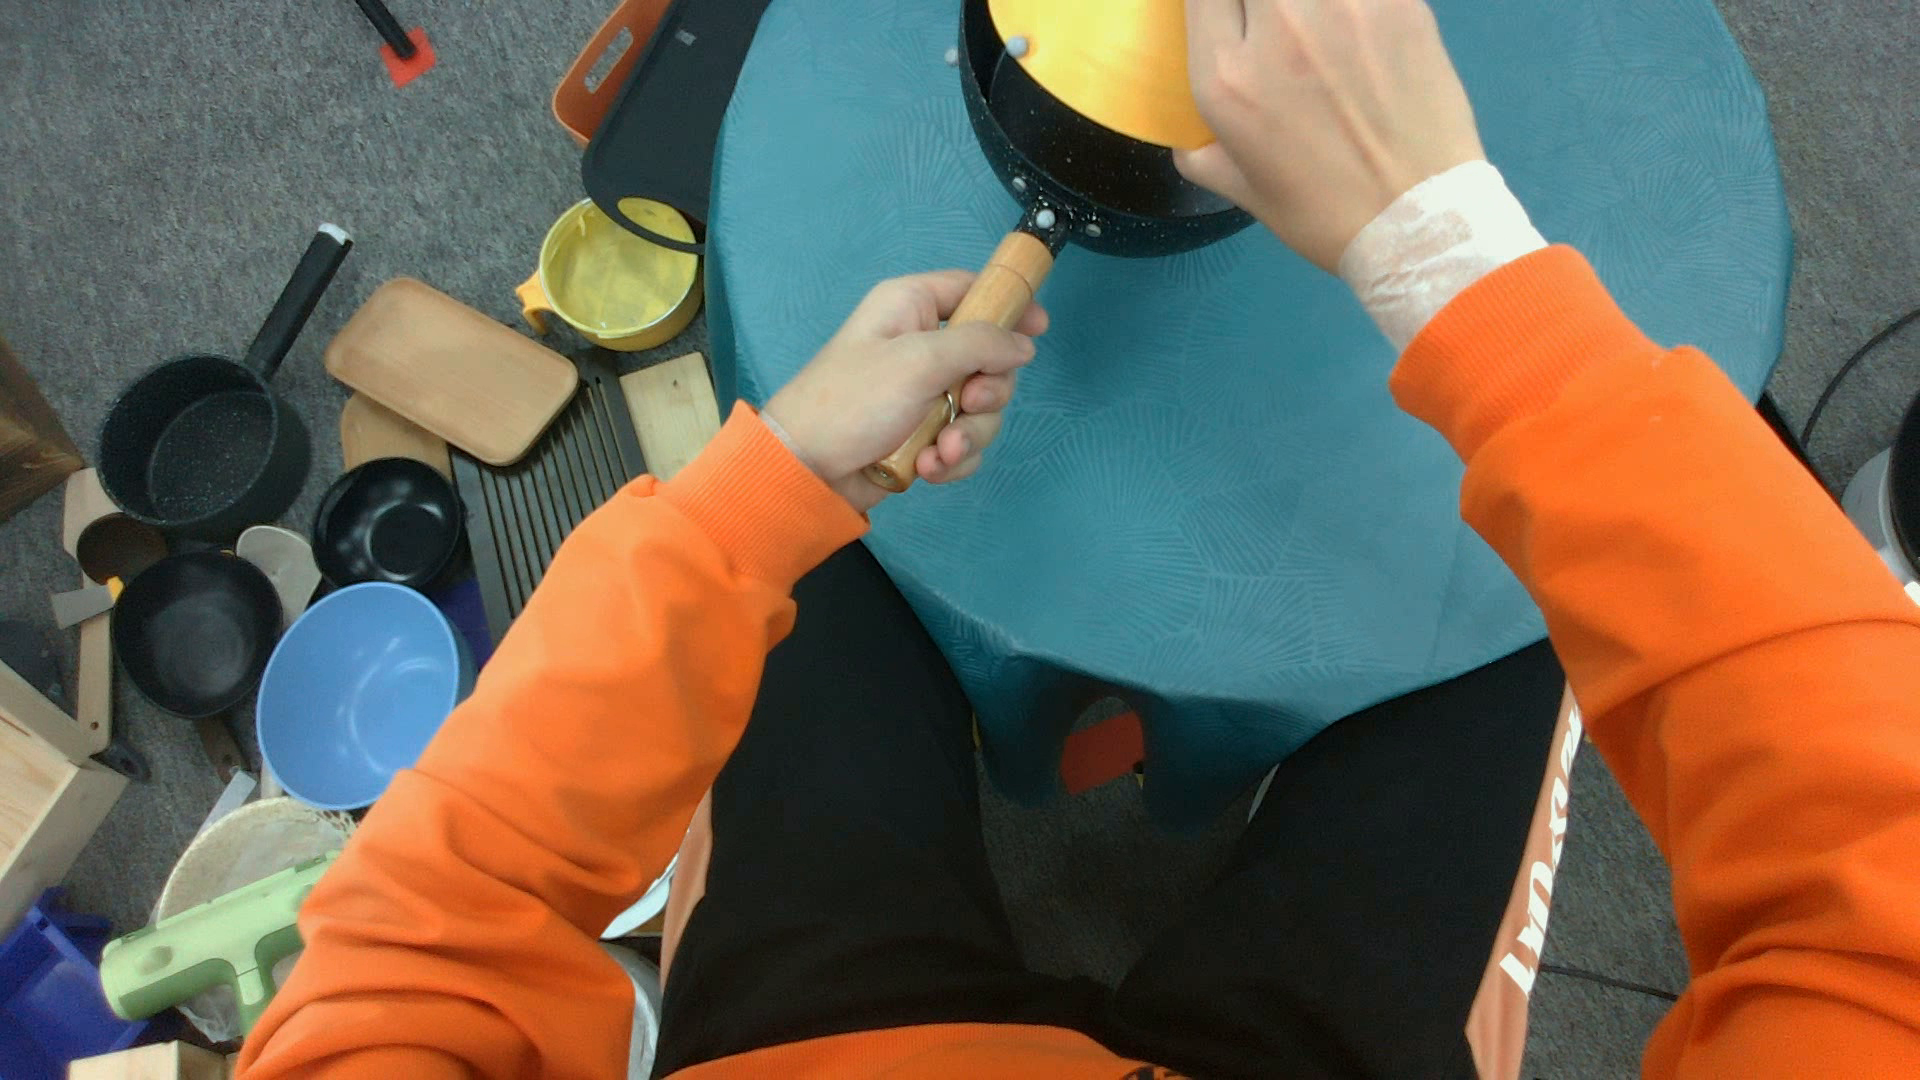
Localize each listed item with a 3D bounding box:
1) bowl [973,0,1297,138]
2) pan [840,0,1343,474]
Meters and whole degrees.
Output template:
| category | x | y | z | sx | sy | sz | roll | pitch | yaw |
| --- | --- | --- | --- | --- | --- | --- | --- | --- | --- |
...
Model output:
| category | x | y | z | sx | sy | sz | roll | pitch | yaw |
| --- | --- | --- | --- | --- | --- | --- | --- | --- | --- |
| bowl | 0.081 | -0.238 | 0.570 | 0.145 | 0.060 | 0.146 | 9 | 53 | -11 |
| pan | 0.043 | -0.164 | 0.638 | 0.207 | 0.108 | 0.343 | 30 | 77 | 0 |
